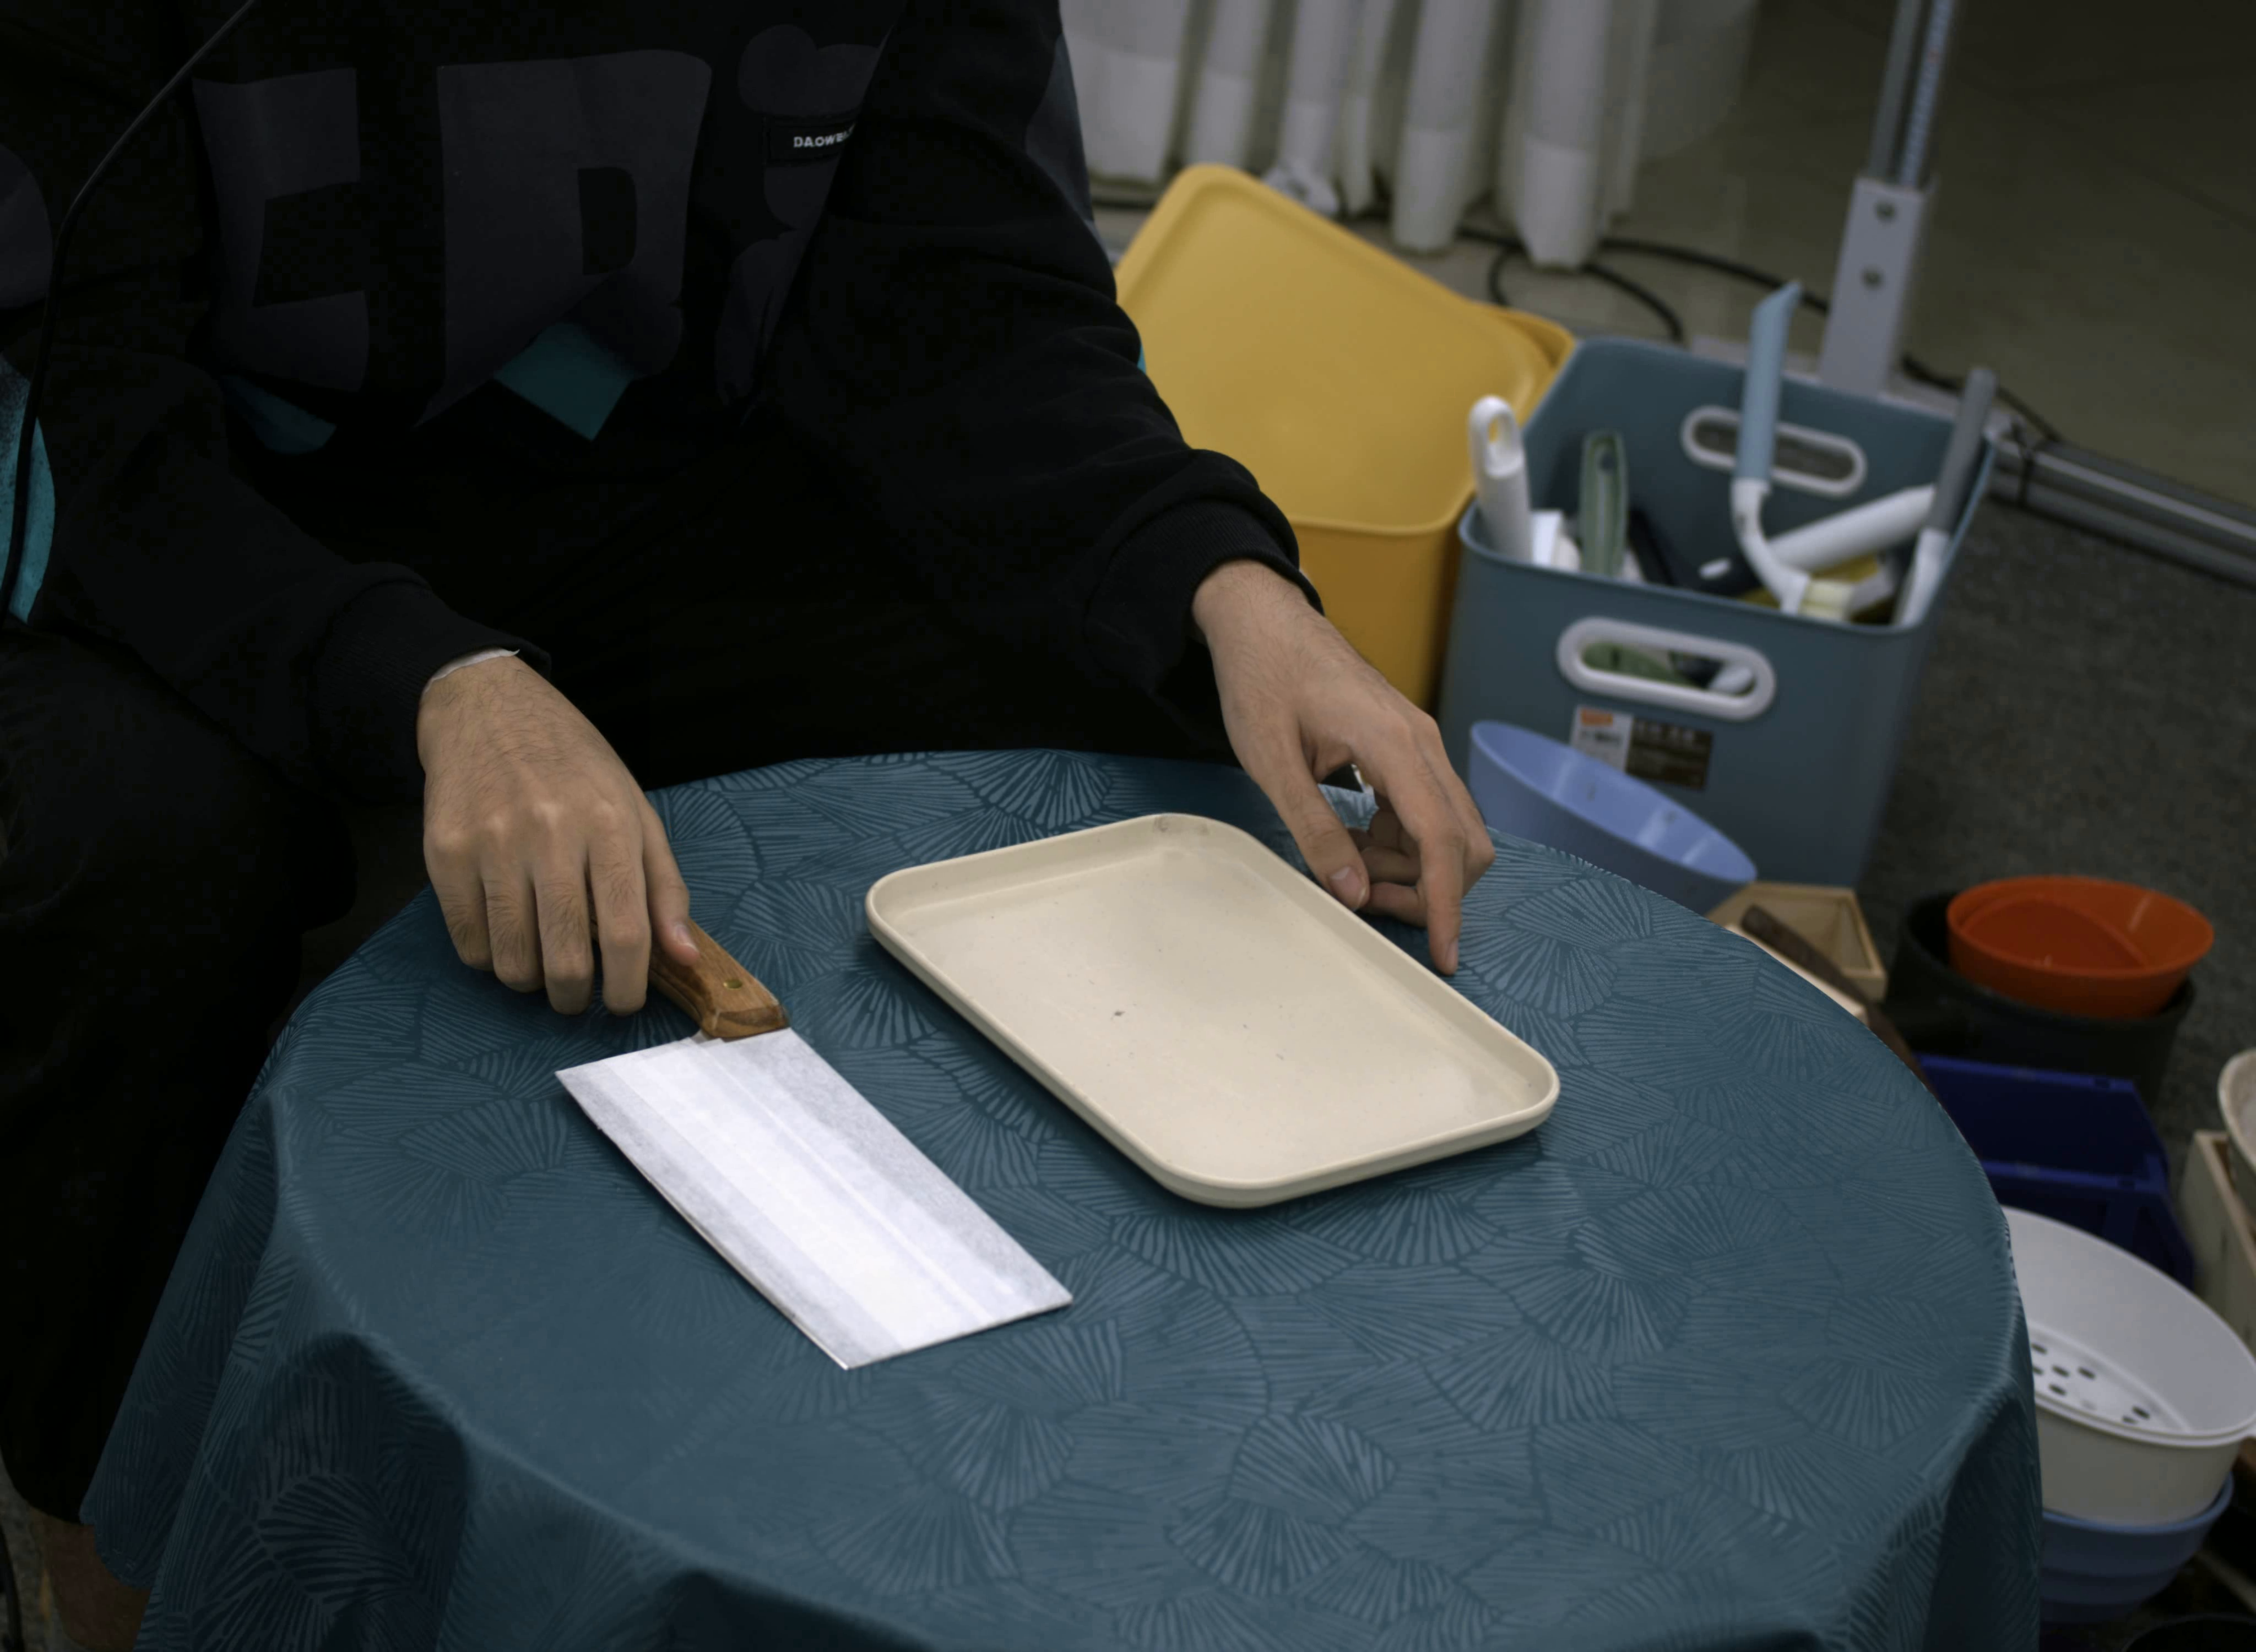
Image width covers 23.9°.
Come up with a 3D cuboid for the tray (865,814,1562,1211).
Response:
[{"bbox_3d":[0.028,0.065,1.902,0.170,0.017,0.242,-13,33,-32],"label":"tray"}]

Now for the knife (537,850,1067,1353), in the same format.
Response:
[{"bbox_3d":[-0.137,0.093,1.816,0.092,0.021,0.308,-14,36,-32],"label":"knife"}]
